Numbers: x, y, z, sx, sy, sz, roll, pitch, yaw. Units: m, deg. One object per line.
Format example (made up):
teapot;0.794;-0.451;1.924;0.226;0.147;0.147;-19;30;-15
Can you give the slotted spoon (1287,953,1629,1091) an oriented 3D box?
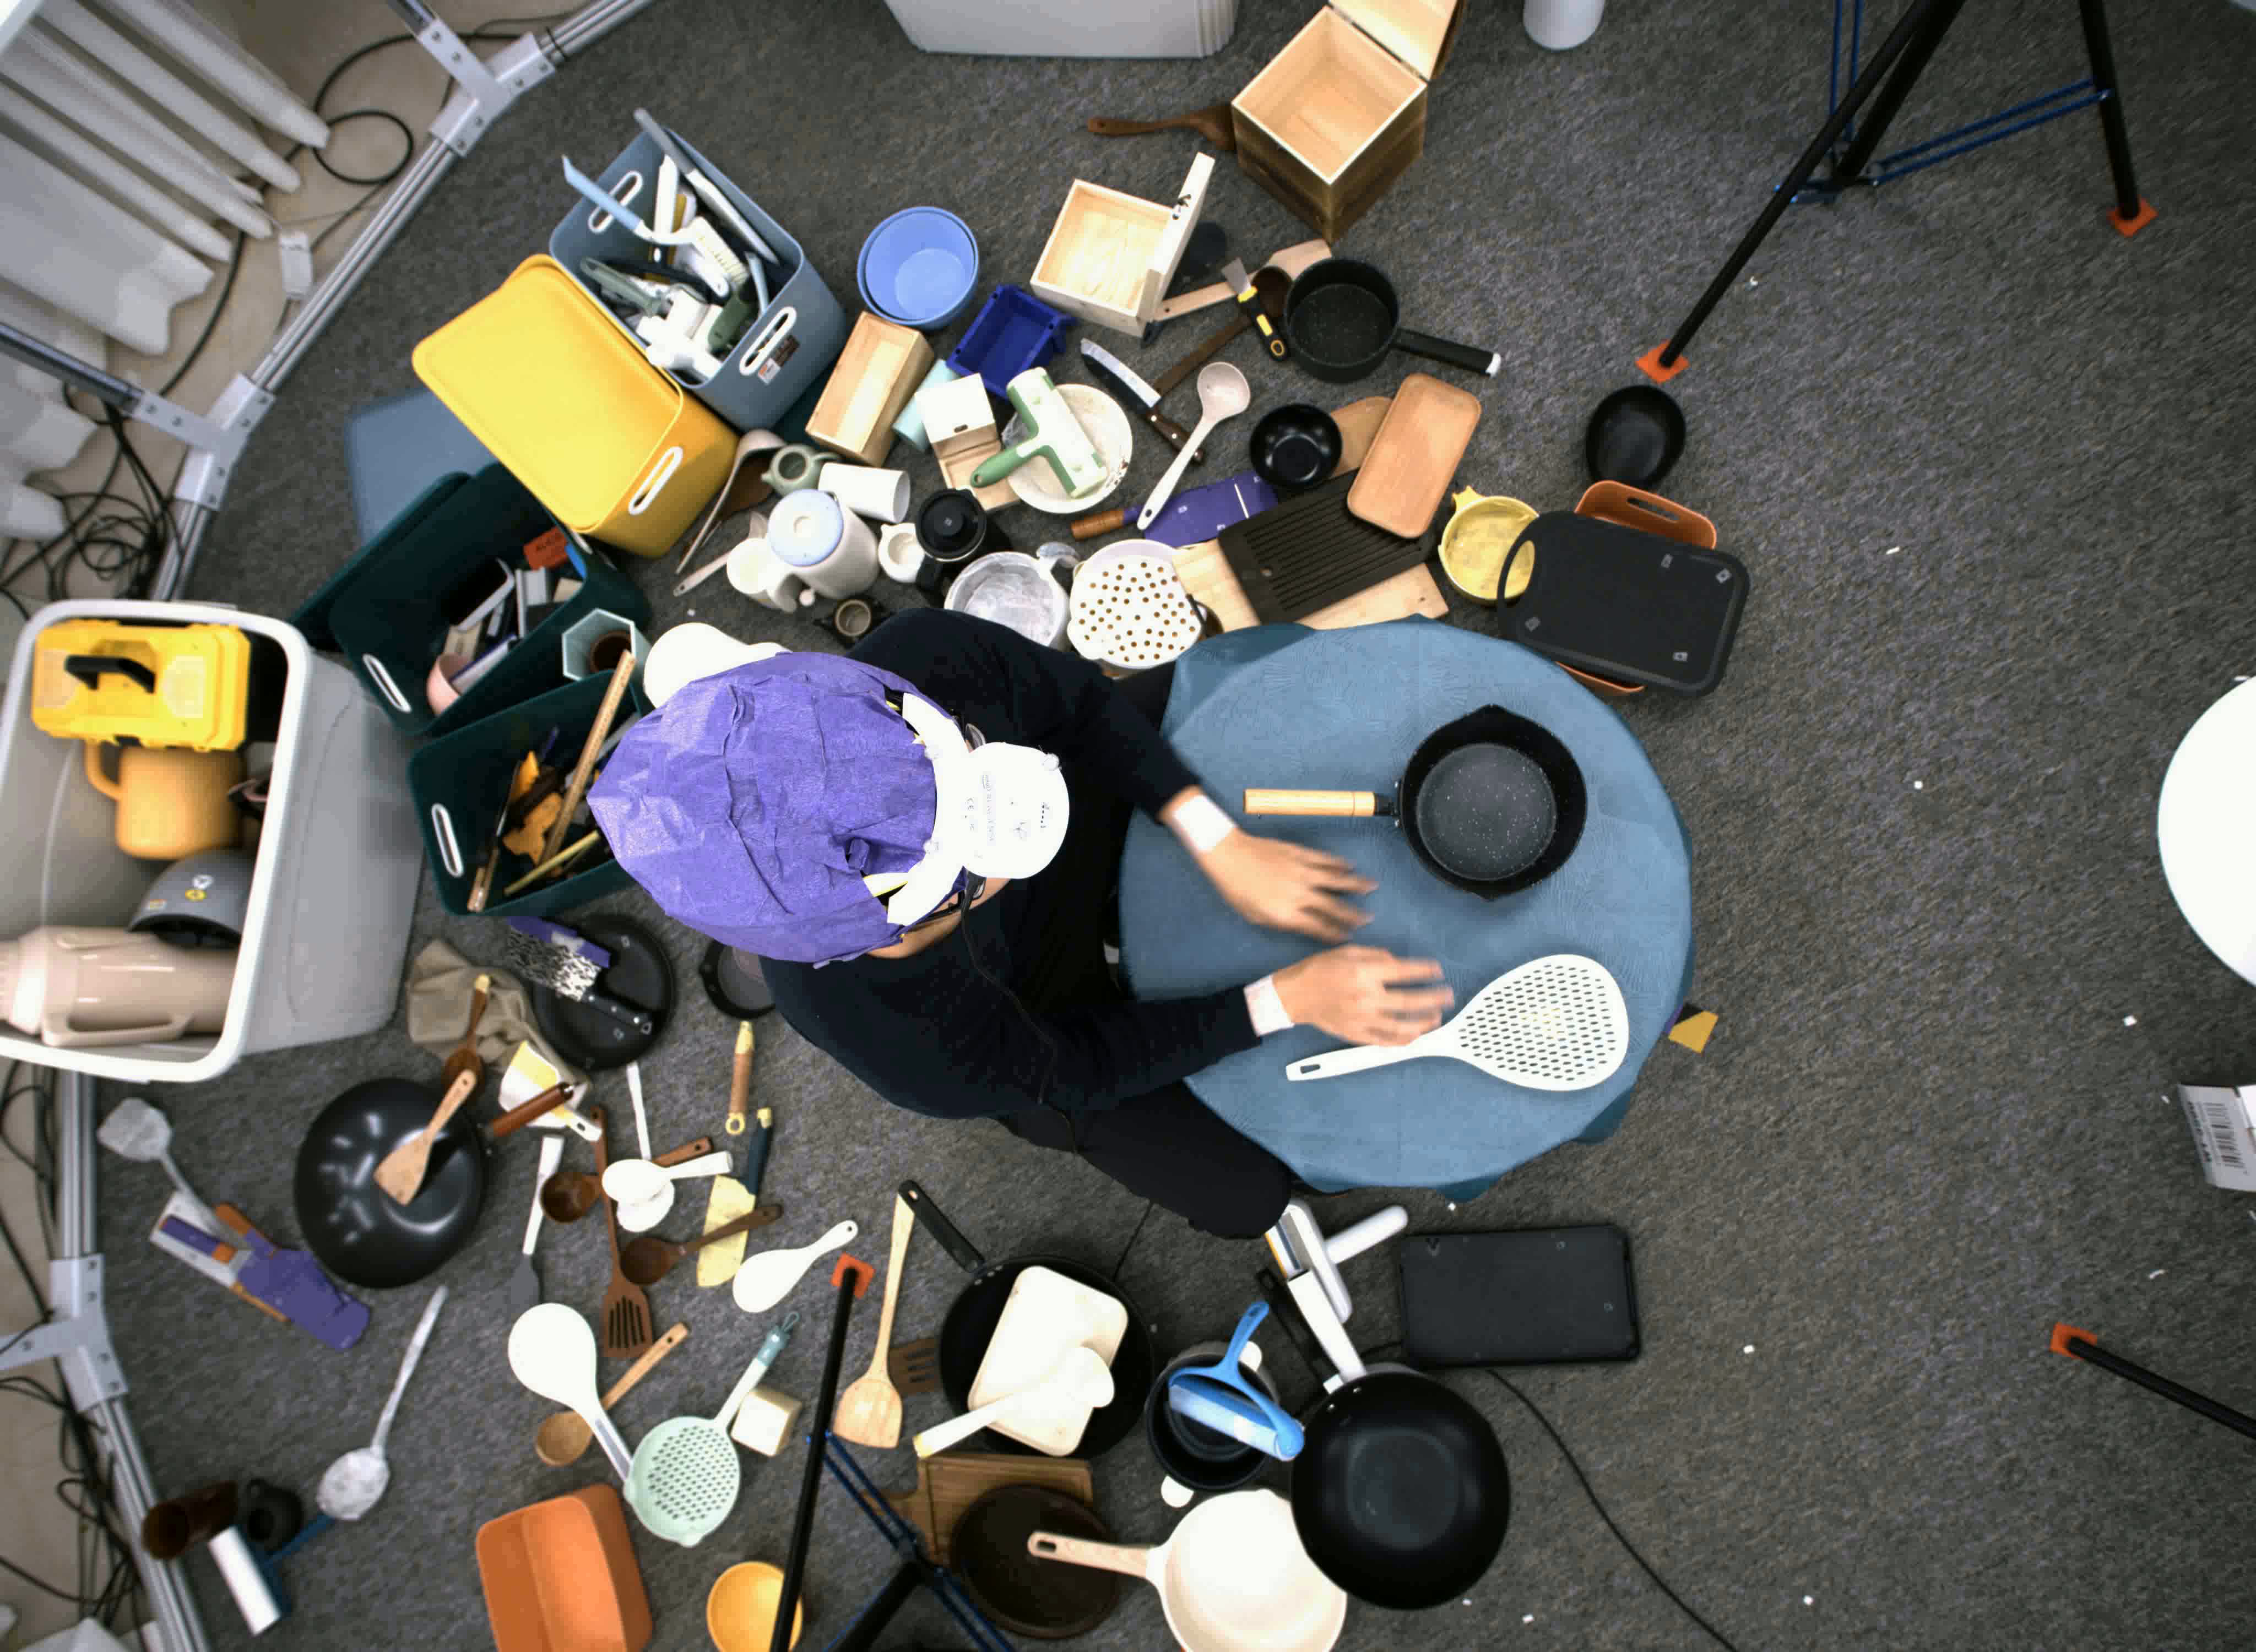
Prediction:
slotted spoon;0.333;0.221;1.418;0.349;0.050;0.136;-13;86;8

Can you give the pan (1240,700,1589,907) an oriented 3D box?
pan;0.289;-0.021;1.407;0.344;0.108;0.207;-1;87;9
